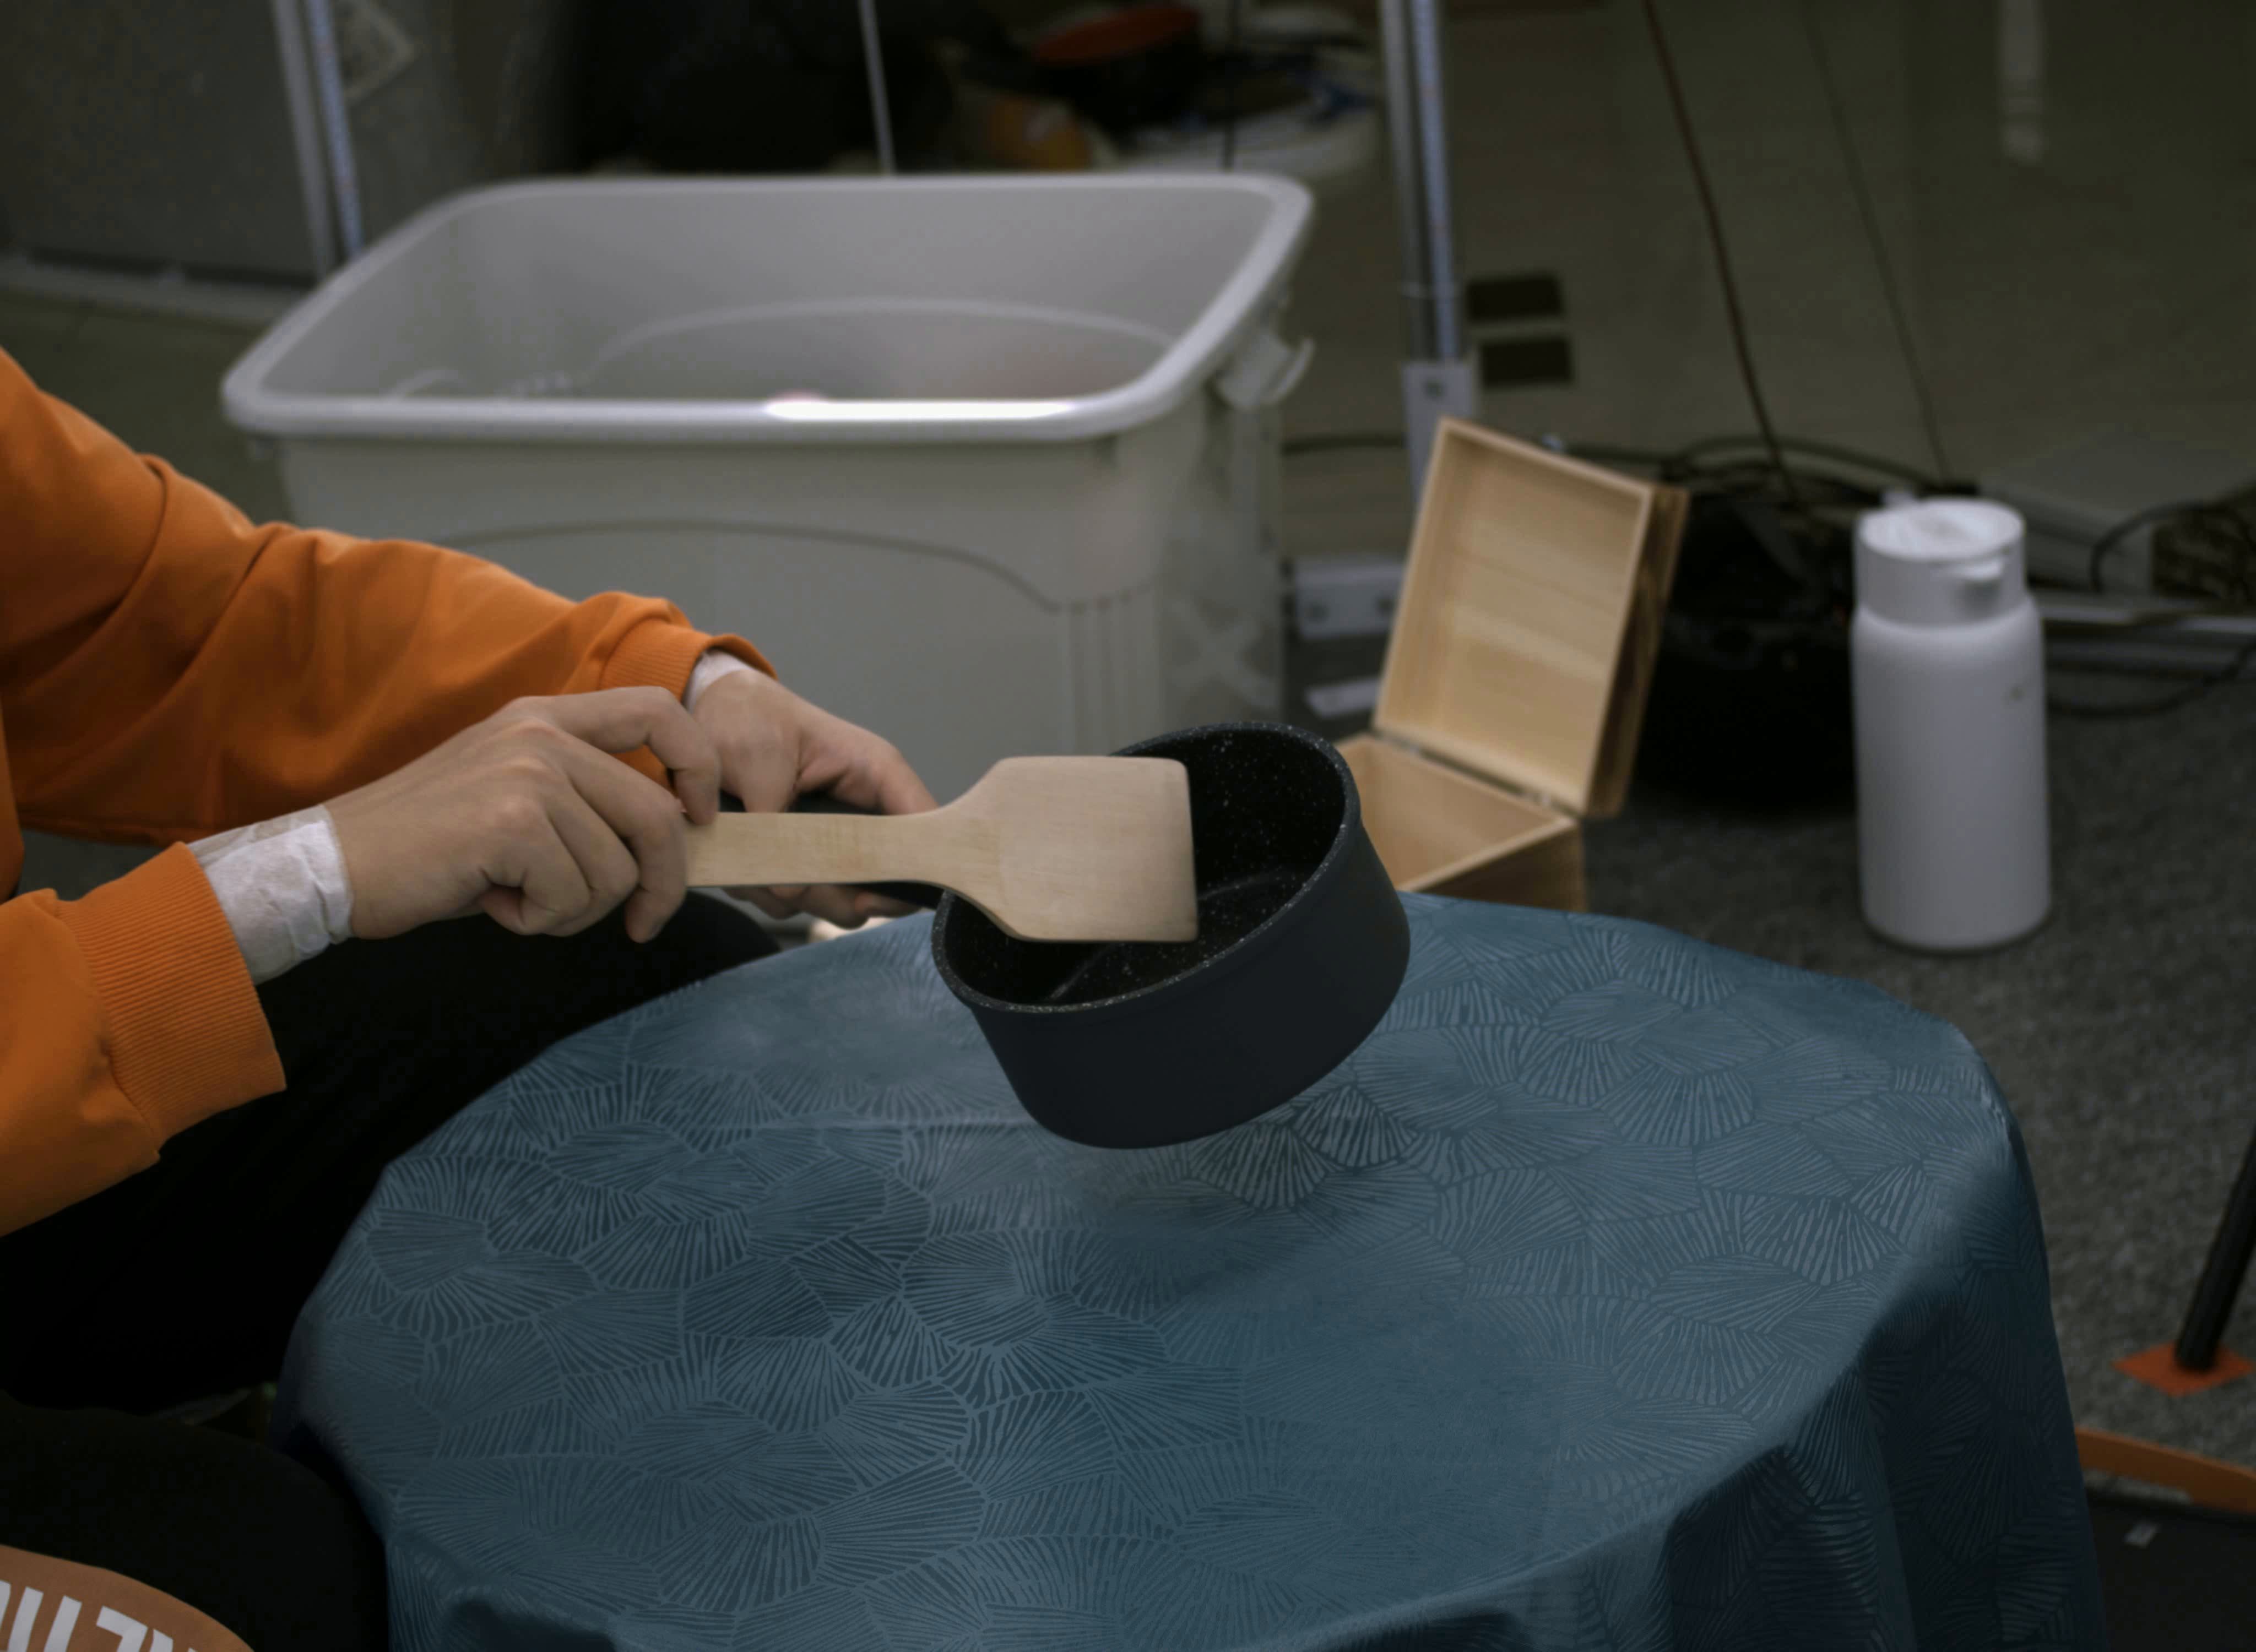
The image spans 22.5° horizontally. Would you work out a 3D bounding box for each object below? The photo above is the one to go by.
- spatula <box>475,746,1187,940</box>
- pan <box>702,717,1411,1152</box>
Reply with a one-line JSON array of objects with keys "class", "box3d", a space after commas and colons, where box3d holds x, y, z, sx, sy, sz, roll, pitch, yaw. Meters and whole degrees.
[{"class": "spatula", "box3d": [-0.102, 0.007, 2.046, 0.293, 0.072, 0.010, -1, -2, -32]}, {"class": "pan", "box3d": [-0.038, 0.031, 2.184, 0.327, 0.088, 0.170, 11, 47, 44]}]
